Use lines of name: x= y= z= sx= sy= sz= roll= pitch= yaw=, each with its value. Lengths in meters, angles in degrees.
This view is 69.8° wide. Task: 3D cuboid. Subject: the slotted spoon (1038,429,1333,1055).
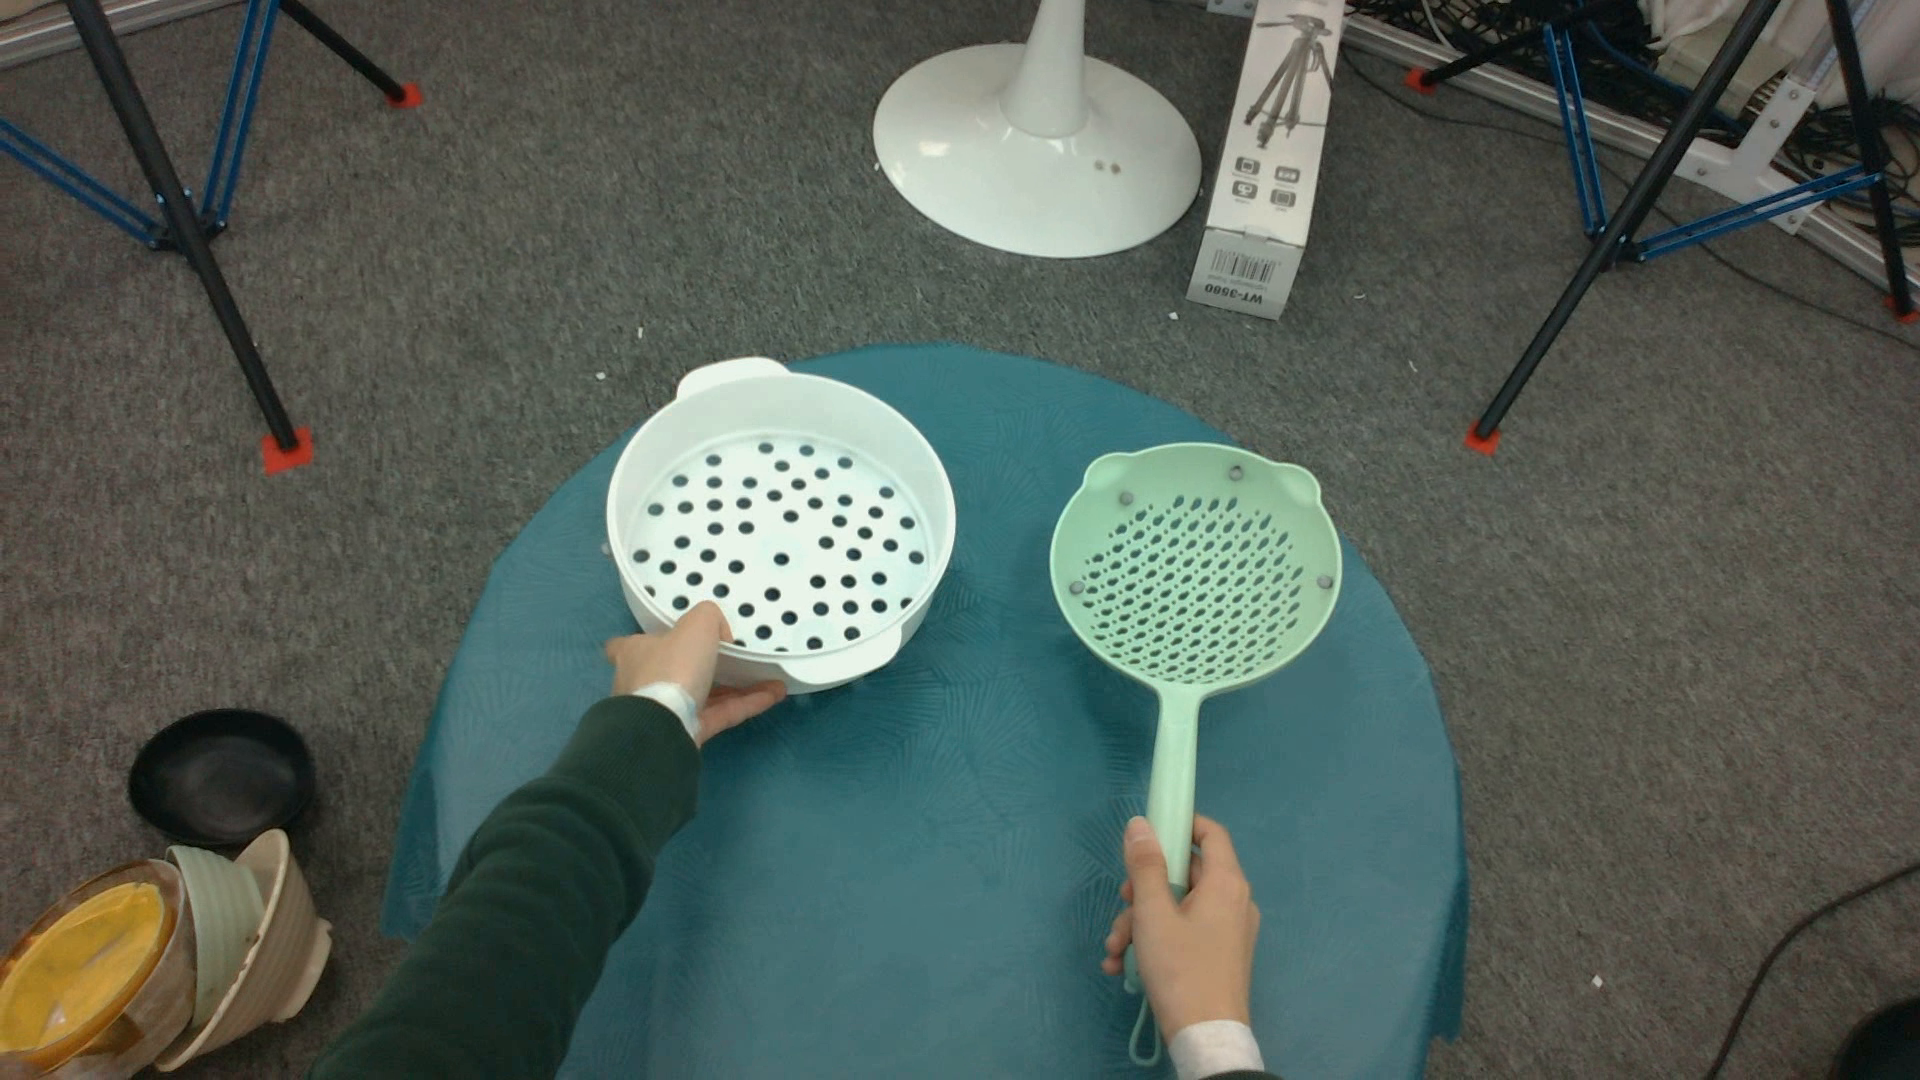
slotted spoon: x=0.115 y=0.092 z=0.757 sx=0.169 sy=0.075 sz=0.360 roll=4 pitch=50 yaw=12

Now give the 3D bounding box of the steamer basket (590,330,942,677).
steamer basket: x=-0.114 y=-0.017 z=0.819 sx=0.202 sy=0.069 sz=0.231 roll=-17 pitch=65 yaw=-19
